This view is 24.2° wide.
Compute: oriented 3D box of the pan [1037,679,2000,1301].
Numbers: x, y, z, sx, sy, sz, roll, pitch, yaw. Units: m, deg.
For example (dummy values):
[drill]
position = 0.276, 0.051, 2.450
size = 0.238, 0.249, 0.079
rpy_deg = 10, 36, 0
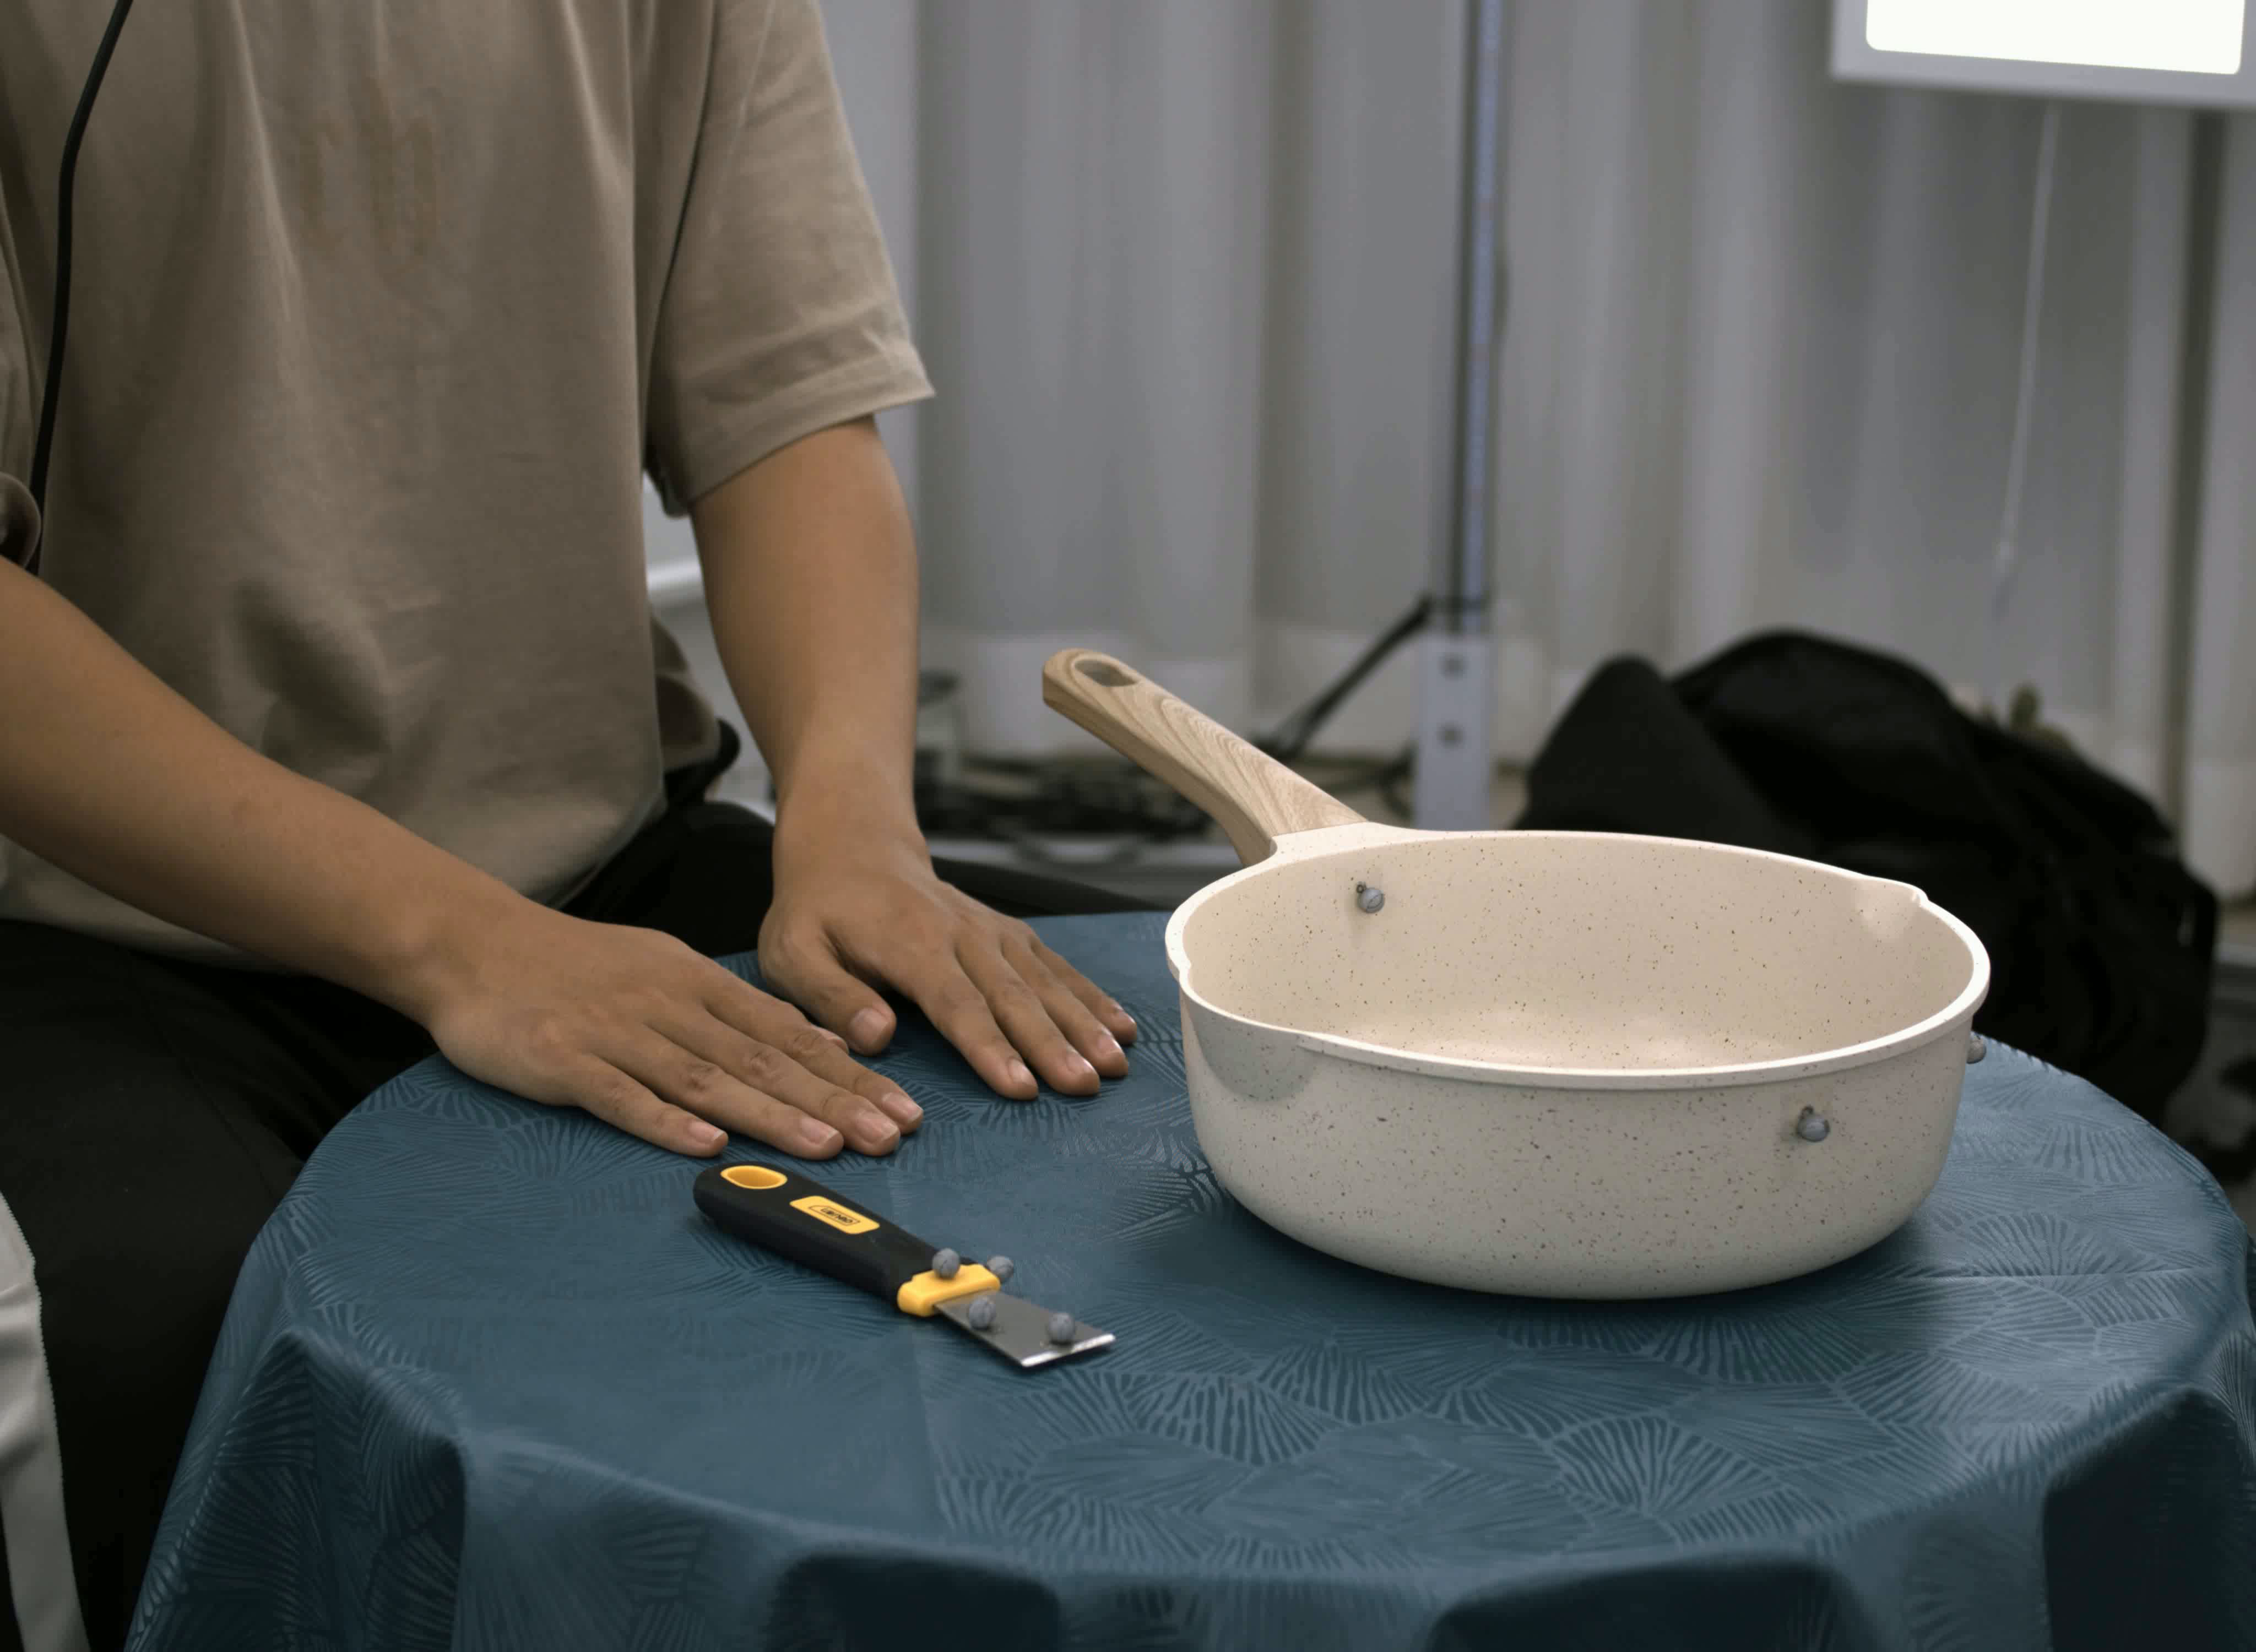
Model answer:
[pan]
position = 0.093, 0.046, 1.693
size = 0.264, 0.103, 0.429
rpy_deg = -11, 19, -30

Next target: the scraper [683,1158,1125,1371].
[scraper]
position = -0.071, 0.127, 1.539
size = 0.039, 0.015, 0.168
rpy_deg = -22, 29, -39
